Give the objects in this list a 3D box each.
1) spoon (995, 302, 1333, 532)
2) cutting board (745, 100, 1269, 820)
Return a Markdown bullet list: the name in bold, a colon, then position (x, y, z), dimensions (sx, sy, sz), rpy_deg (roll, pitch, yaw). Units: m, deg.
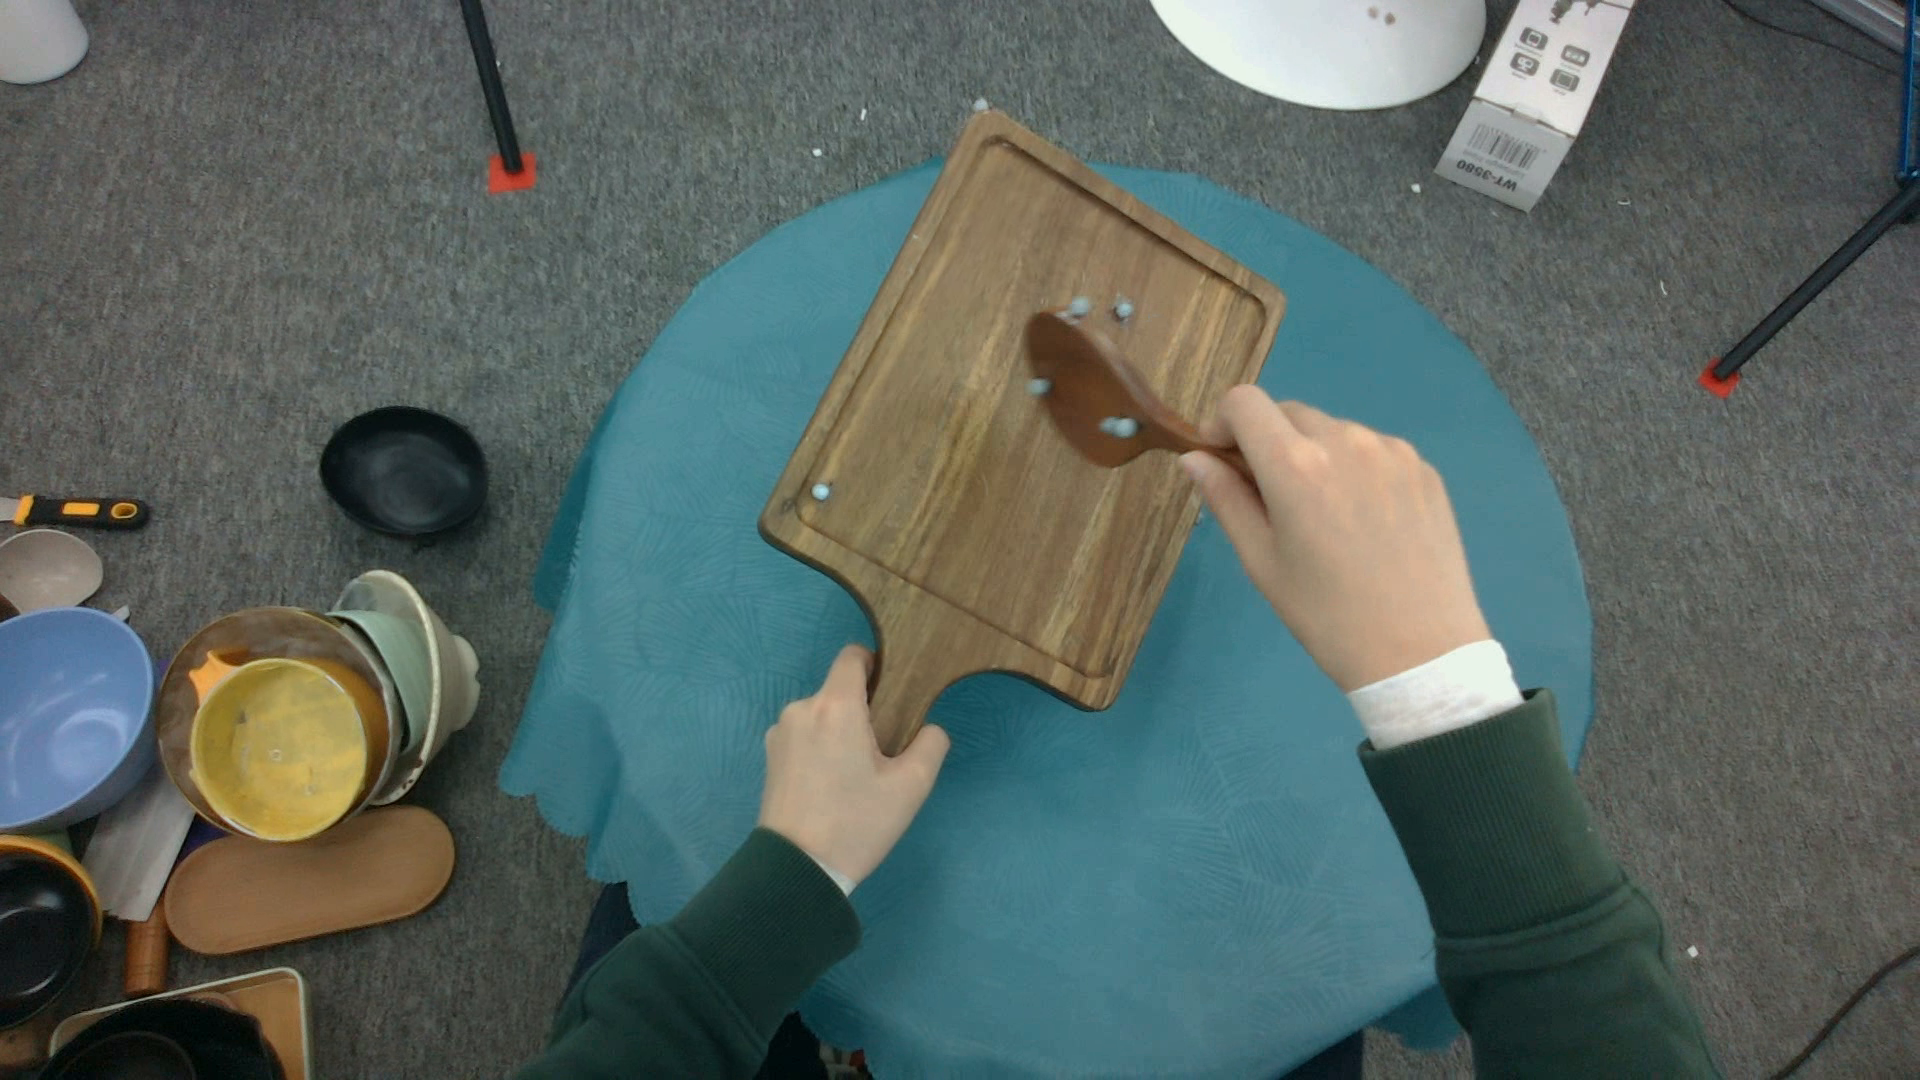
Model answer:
- **spoon**: position (0.073, -0.047, 0.553), dimensions (0.017, 0.075, 0.216), rpy_deg (-23, 30, -19)
- **cutting board**: position (0.013, -0.028, 0.678), dimensions (0.201, 0.023, 0.353), rpy_deg (29, 74, -13)
